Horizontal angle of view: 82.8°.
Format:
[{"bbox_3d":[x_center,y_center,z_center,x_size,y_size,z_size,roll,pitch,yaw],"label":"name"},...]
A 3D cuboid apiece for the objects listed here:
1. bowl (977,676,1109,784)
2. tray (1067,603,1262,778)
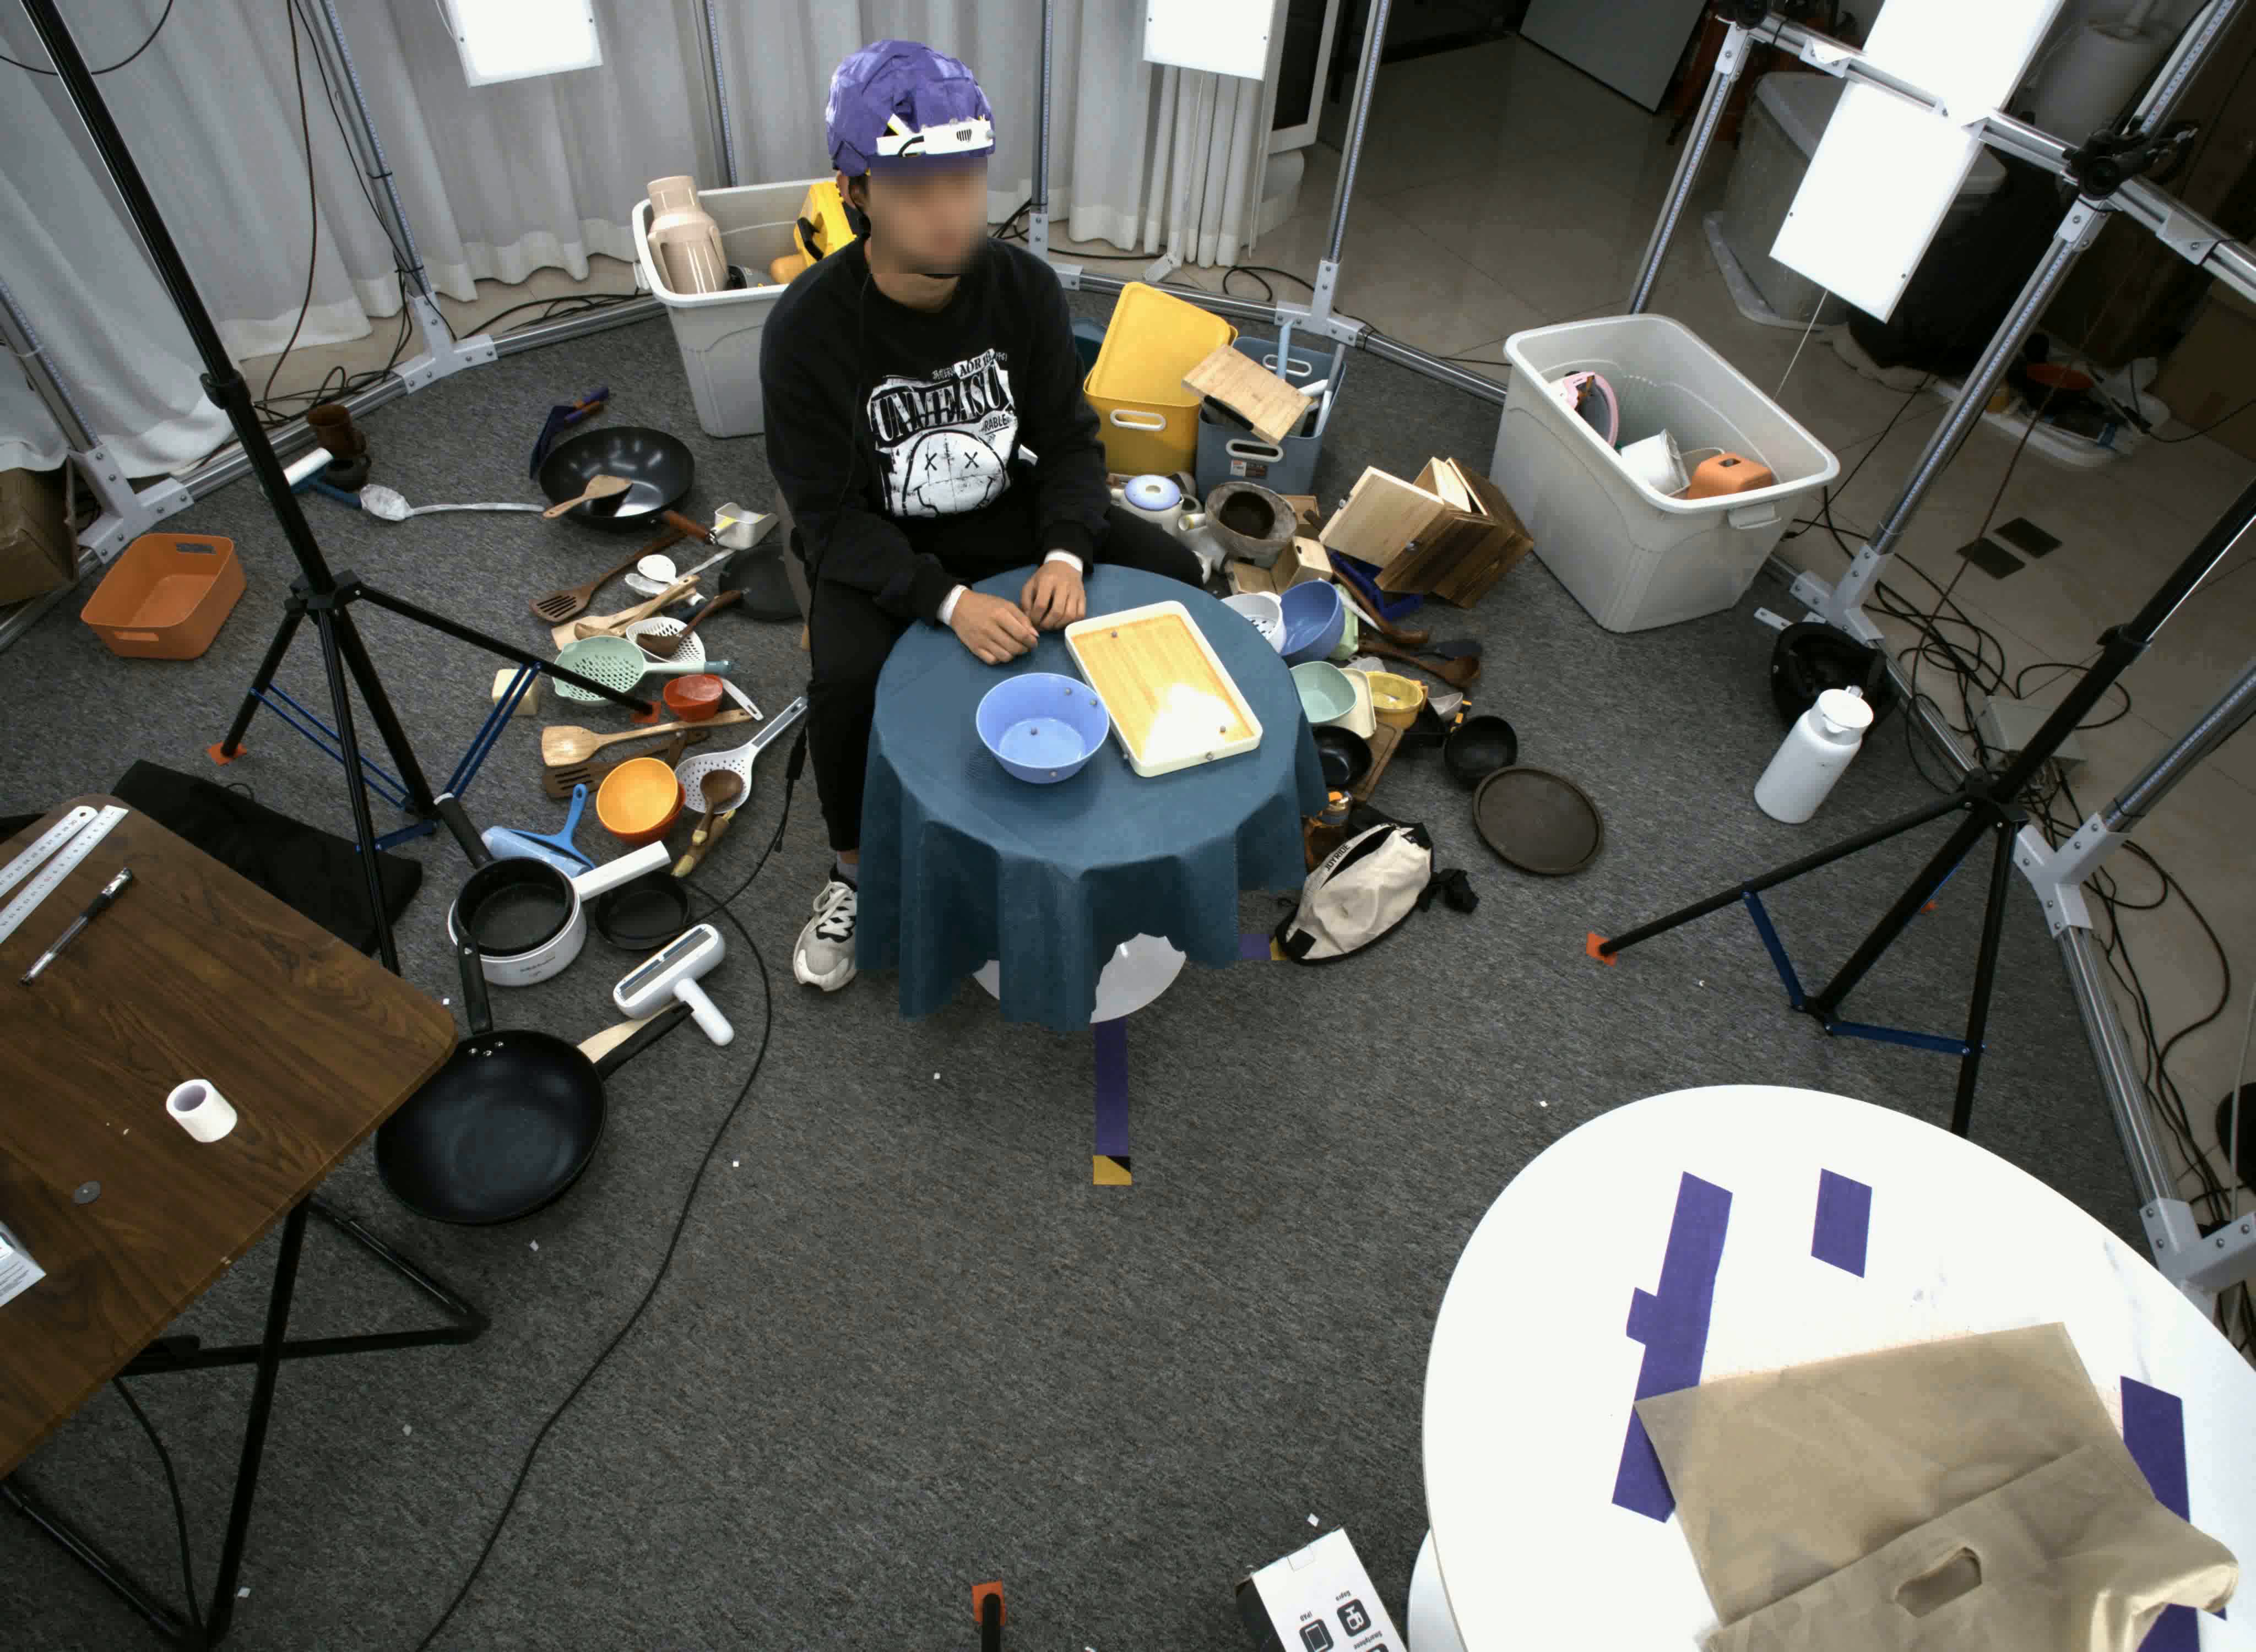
[{"bbox_3d":[-0.115,-0.121,1.735,0.176,0.068,0.180,3,48,-3],"label":"bowl"},{"bbox_3d":[0.048,-0.201,1.846,0.192,0.027,0.307,-15,52,-16],"label":"tray"}]
